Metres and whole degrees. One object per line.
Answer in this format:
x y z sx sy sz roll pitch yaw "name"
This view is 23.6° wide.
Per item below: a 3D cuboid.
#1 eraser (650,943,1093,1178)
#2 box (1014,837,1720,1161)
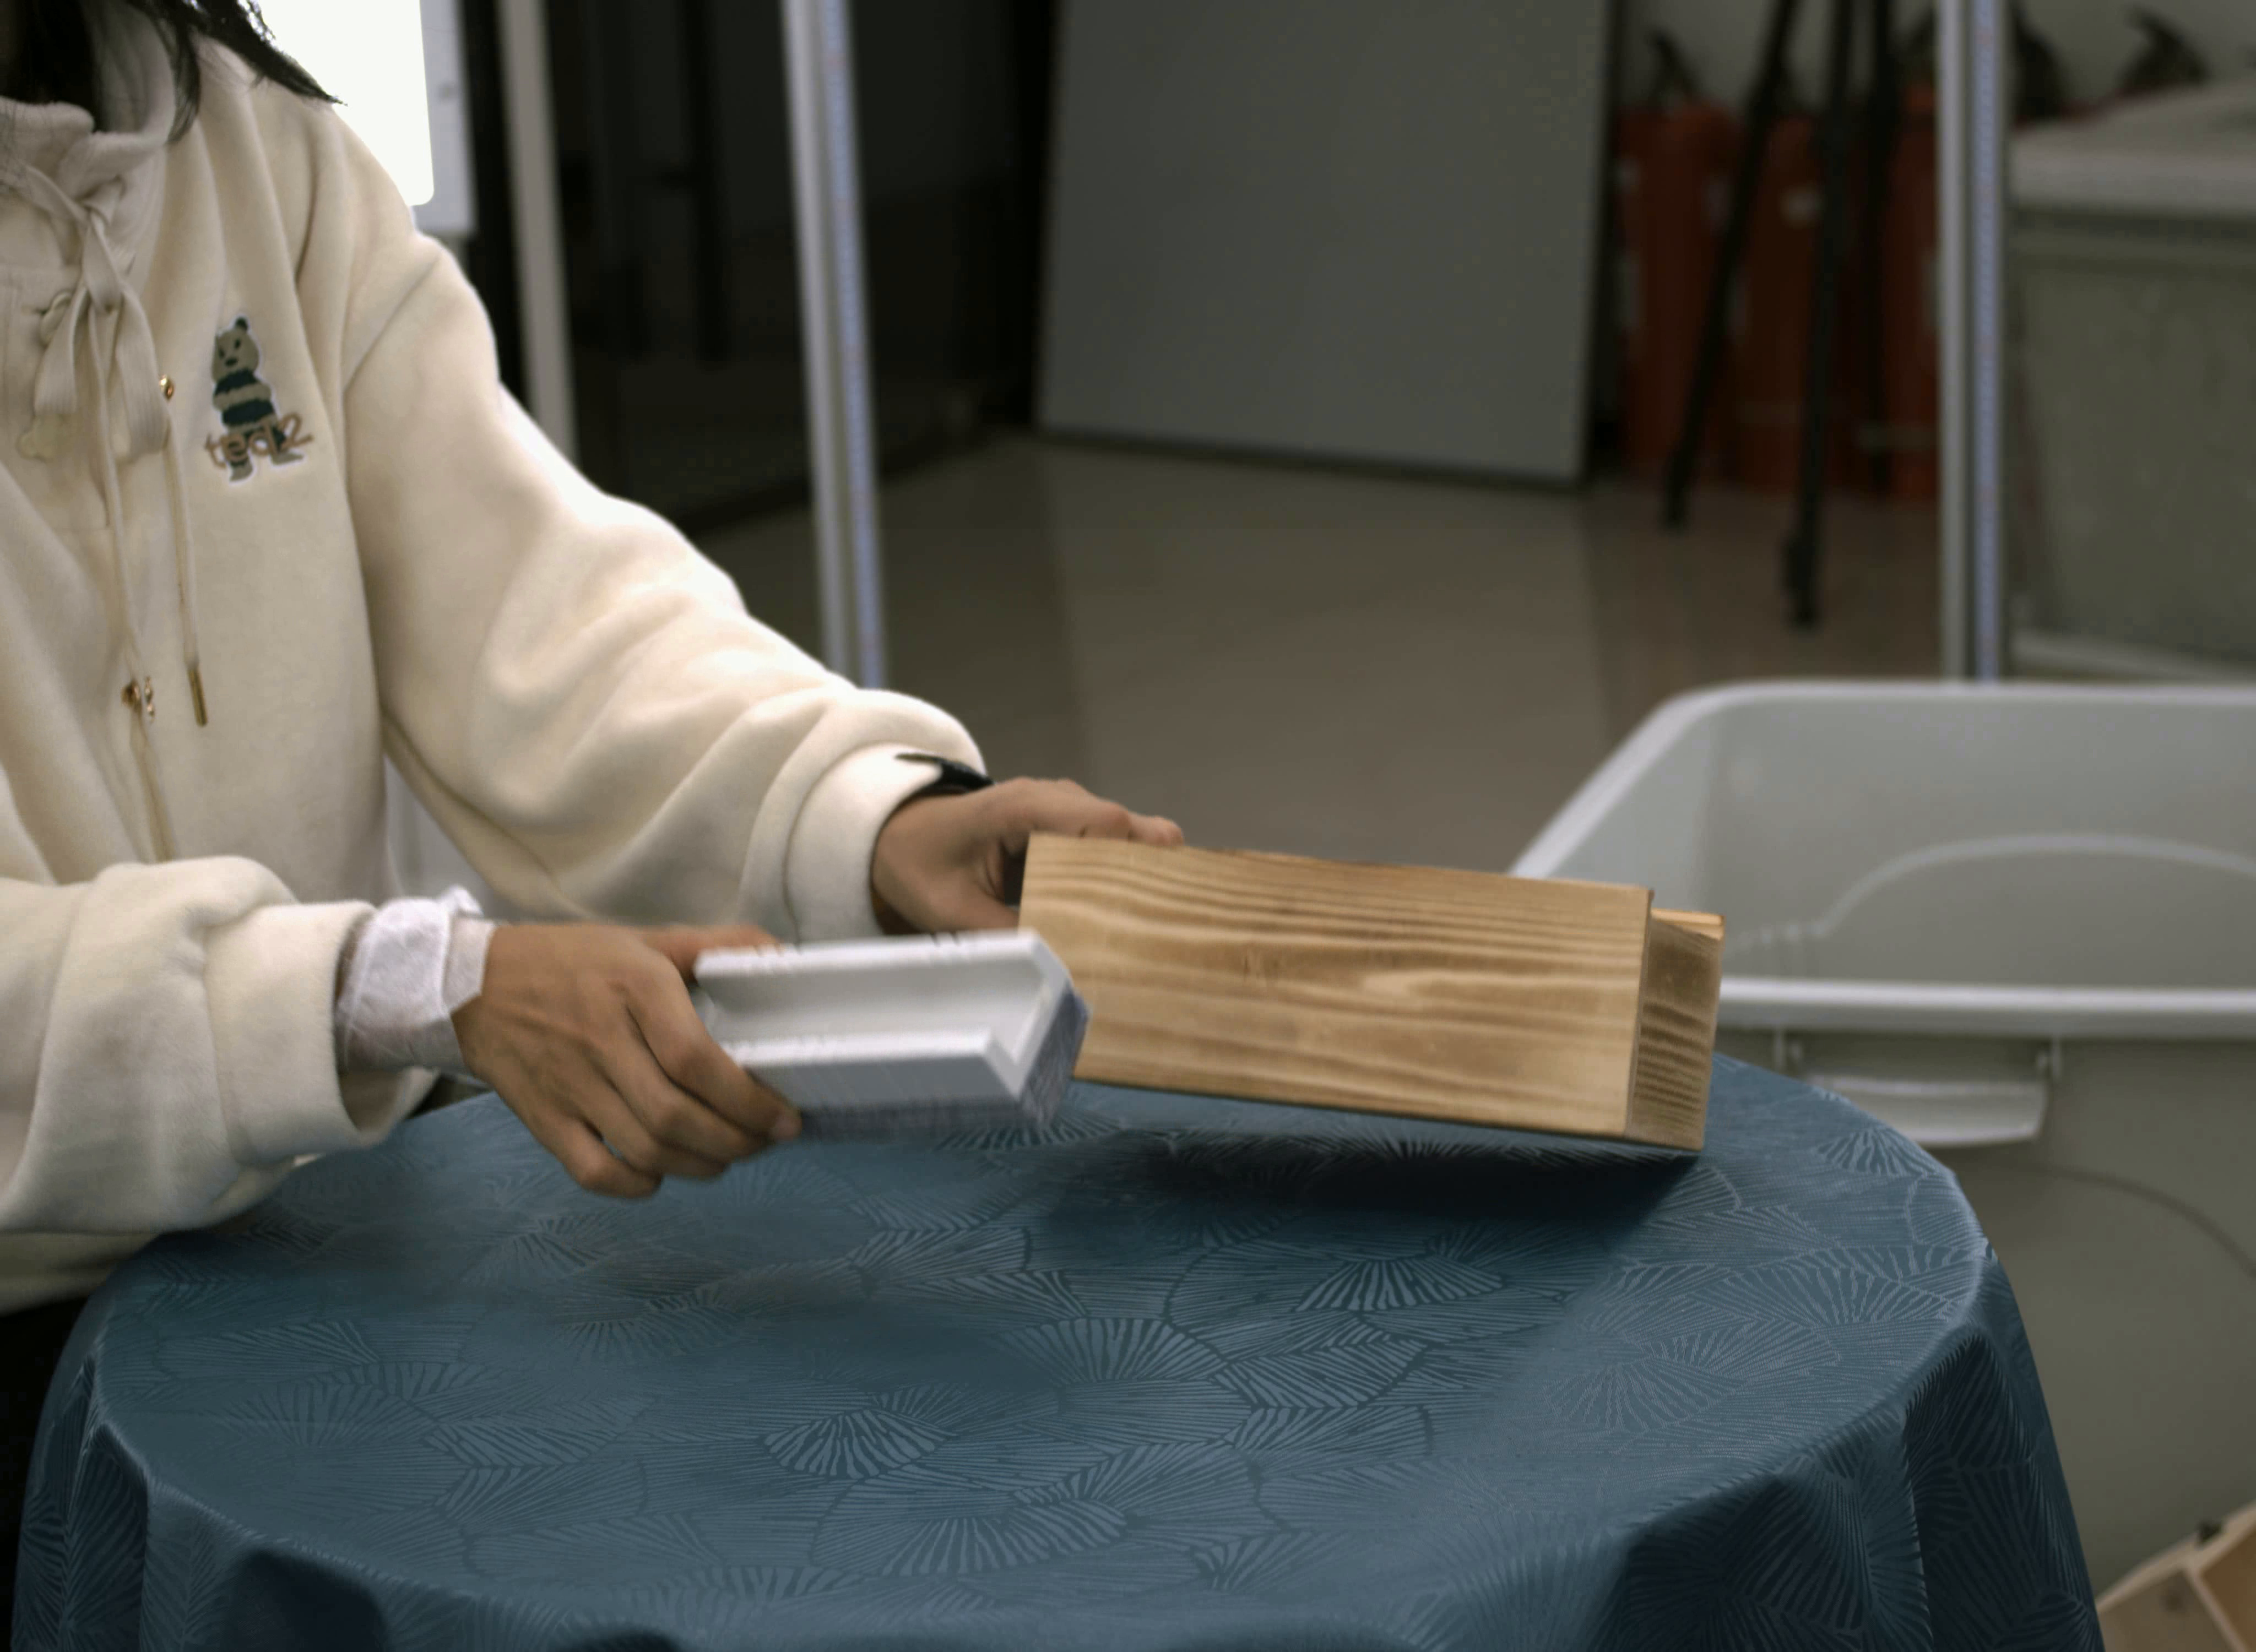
-0.079 0.074 1.666 0.135 0.046 0.050 -6 45 35 "eraser"
0.077 0.057 1.759 0.211 0.081 0.106 5 -3 22 "box"
